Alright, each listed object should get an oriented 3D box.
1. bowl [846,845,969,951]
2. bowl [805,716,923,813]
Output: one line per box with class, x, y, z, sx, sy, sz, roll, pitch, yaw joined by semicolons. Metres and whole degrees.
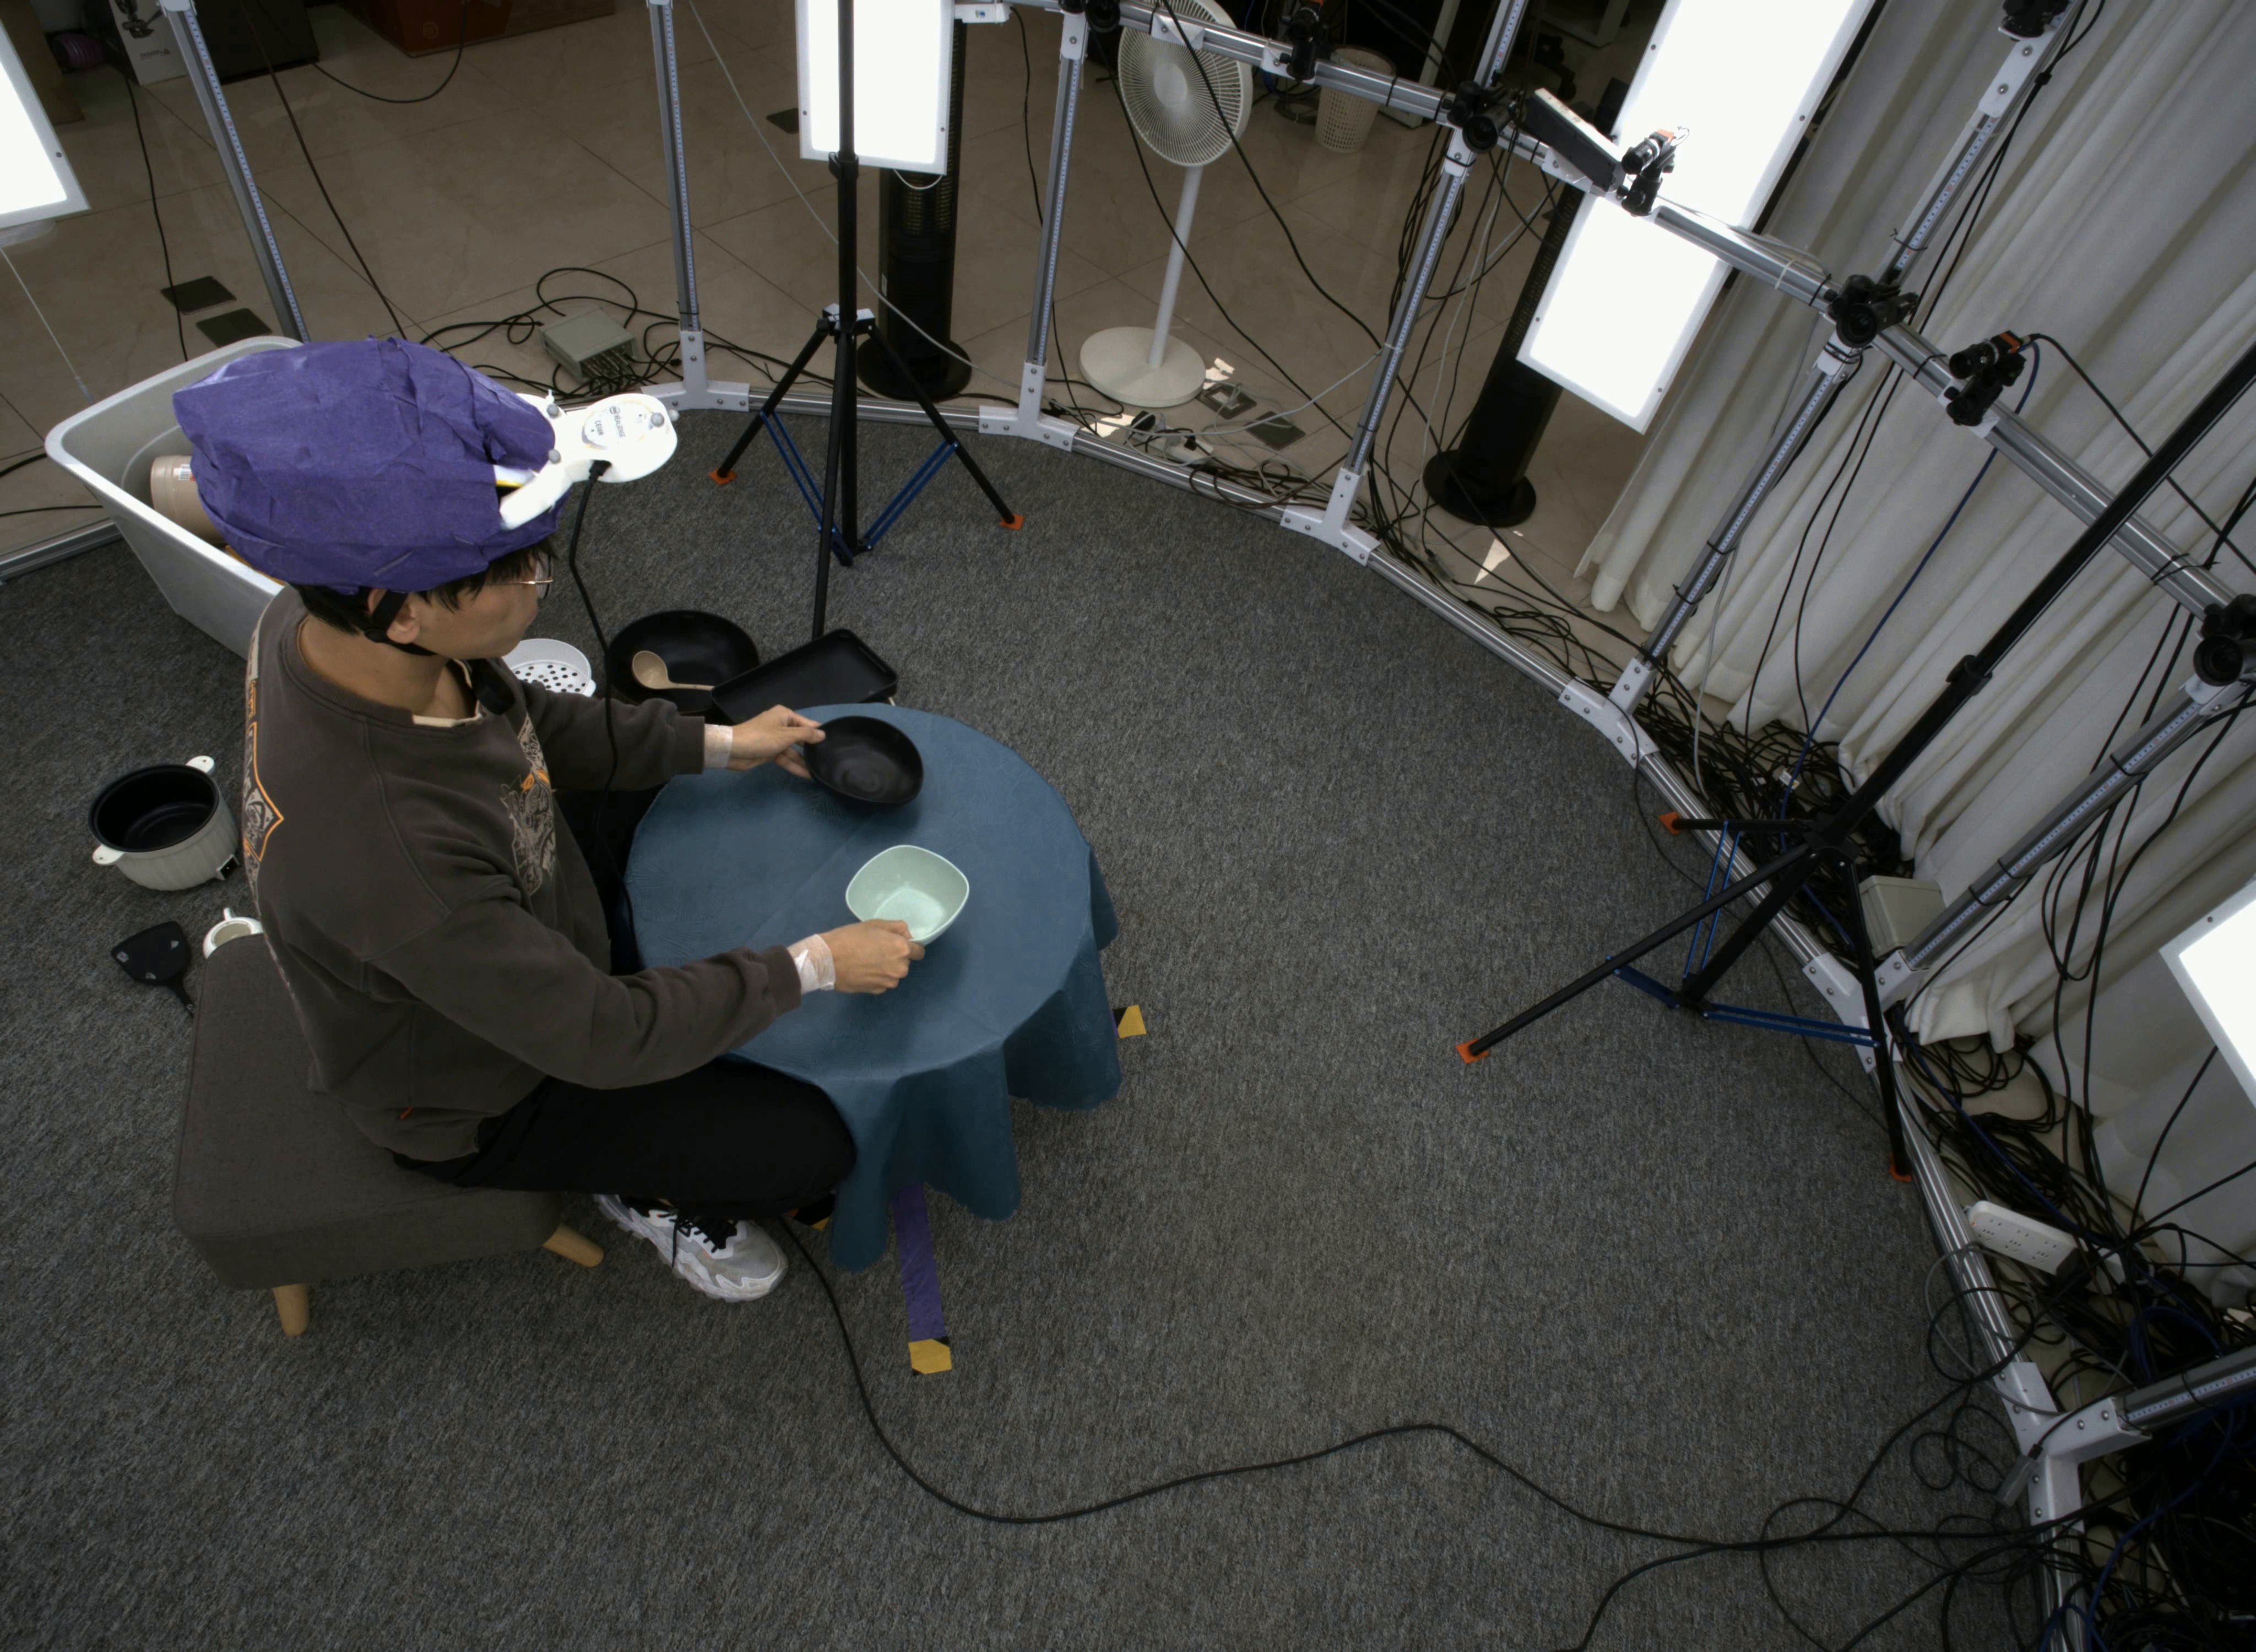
bowl;-0.274;0.098;1.623;0.150;0.060;0.148;6;48;-5
bowl;-0.358;-0.073;1.767;0.168;0.068;0.136;28;53;5
